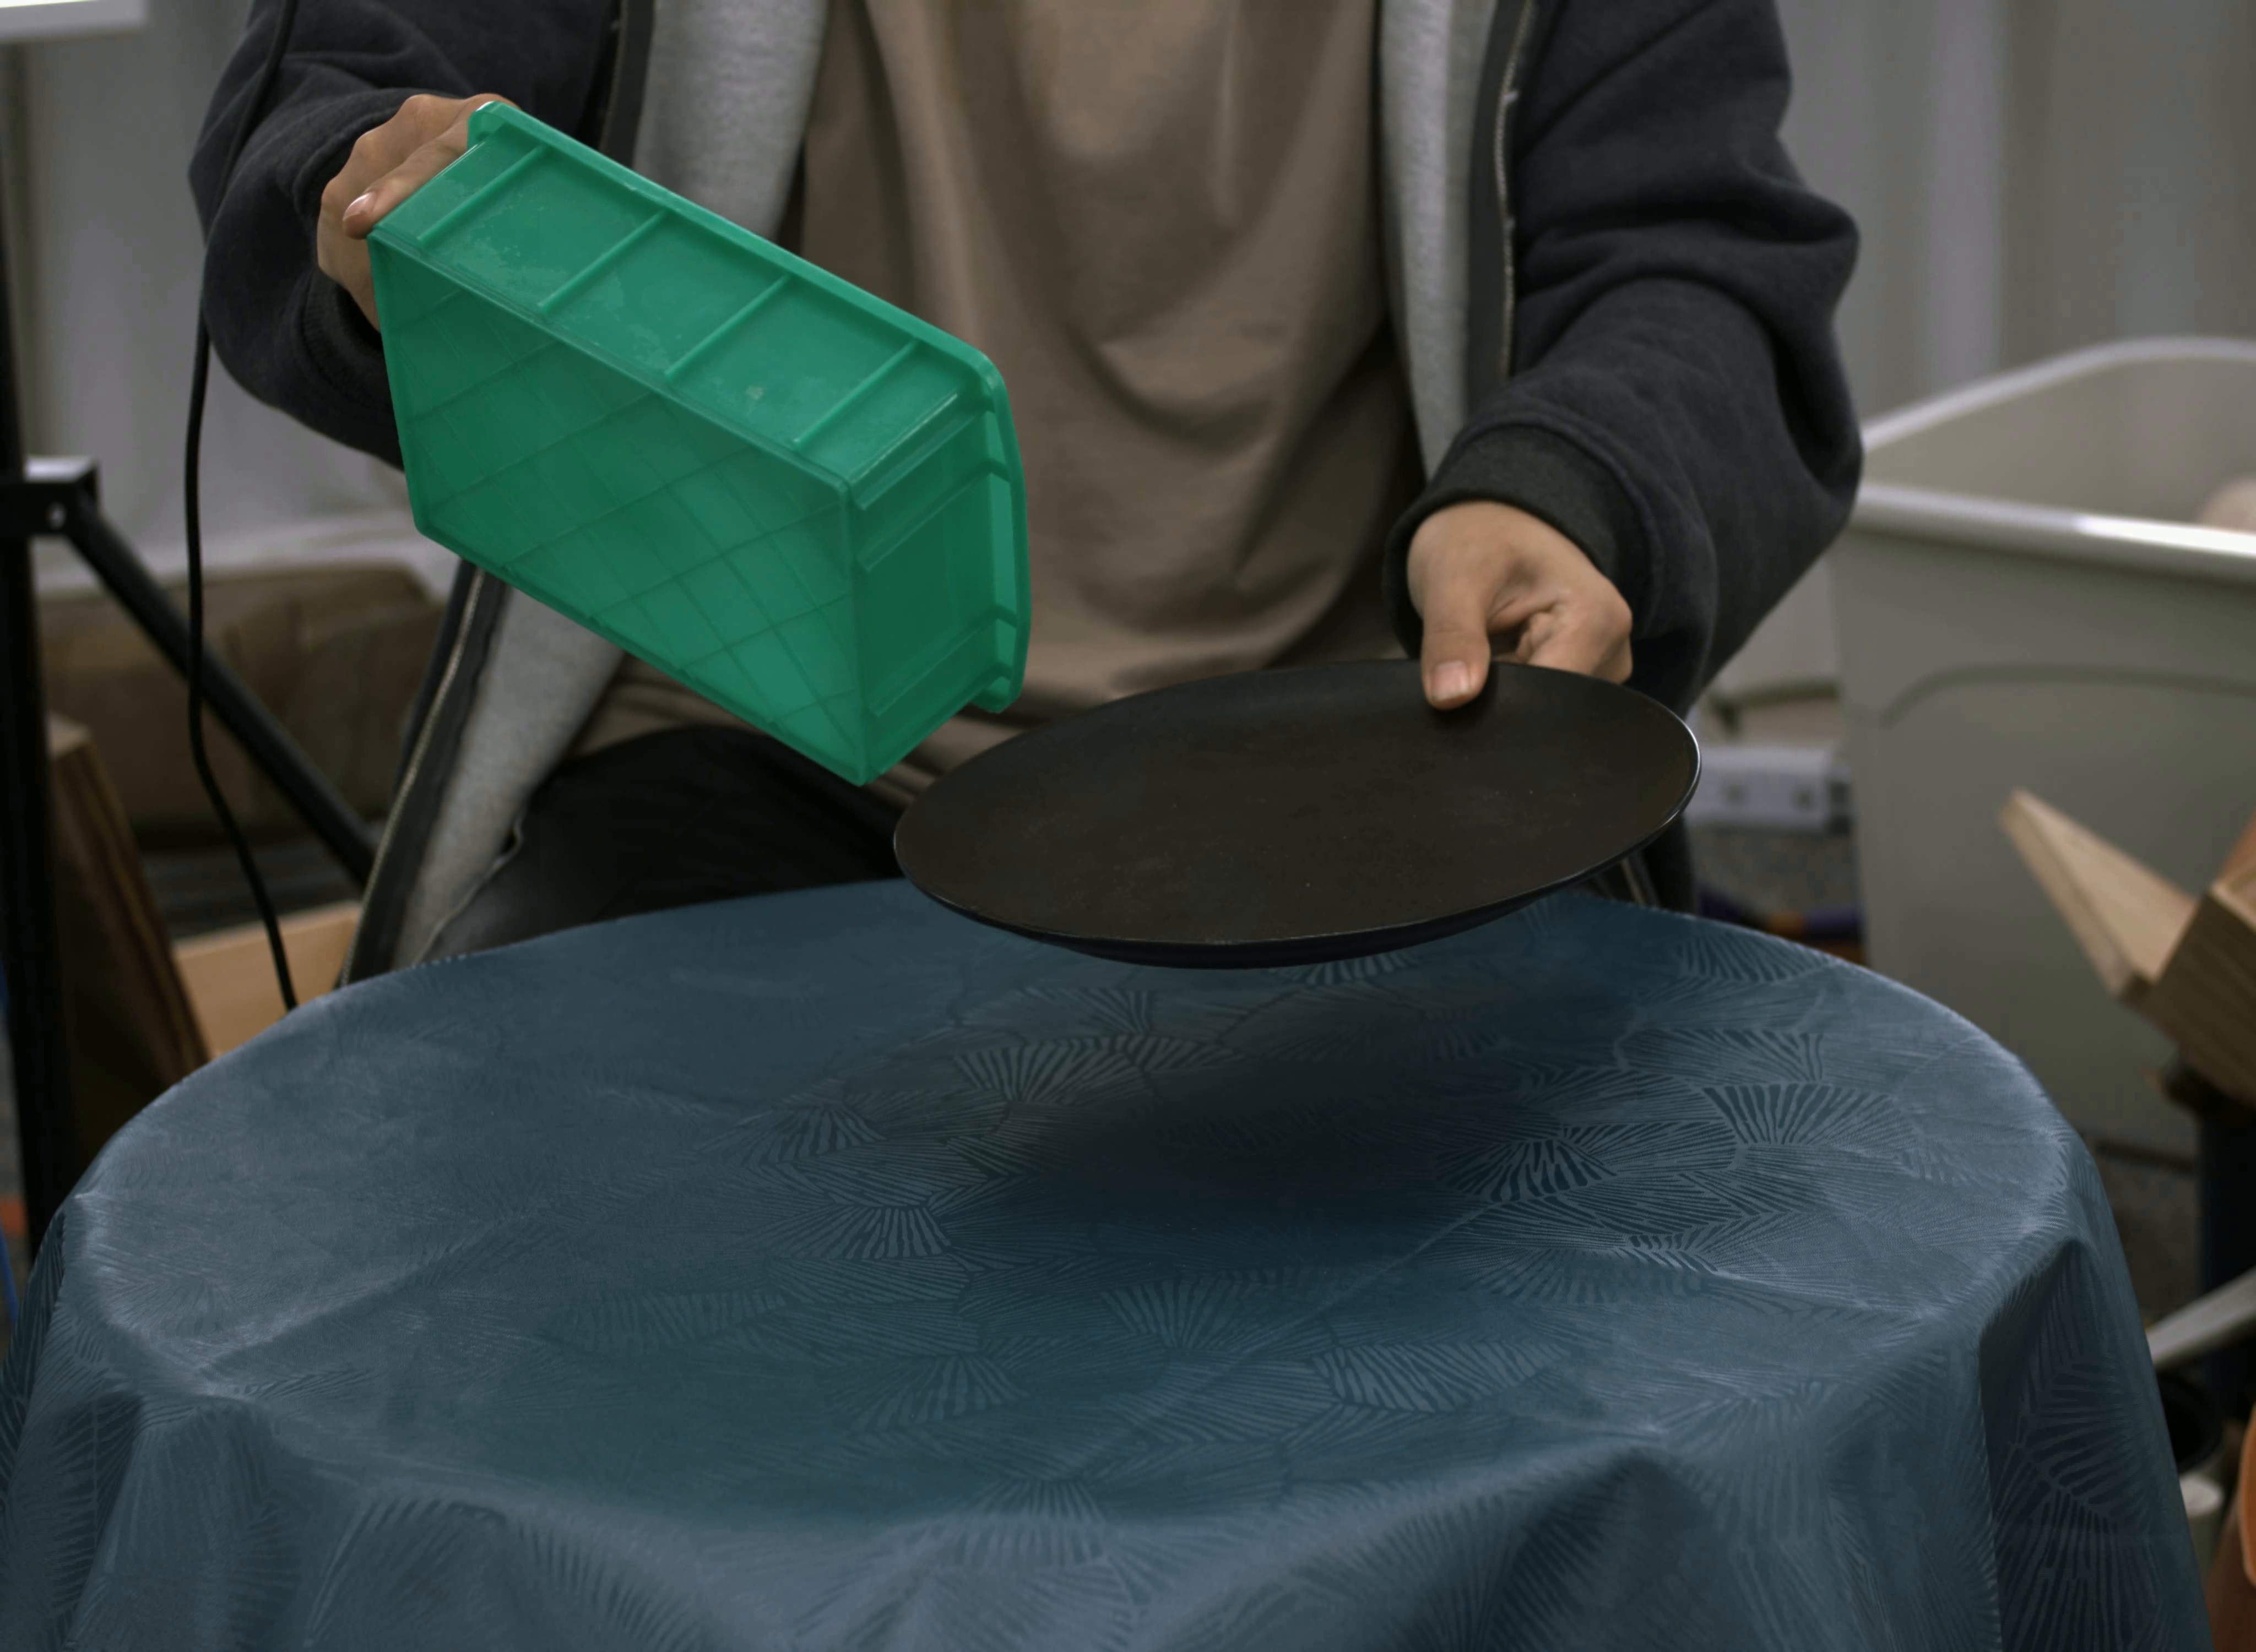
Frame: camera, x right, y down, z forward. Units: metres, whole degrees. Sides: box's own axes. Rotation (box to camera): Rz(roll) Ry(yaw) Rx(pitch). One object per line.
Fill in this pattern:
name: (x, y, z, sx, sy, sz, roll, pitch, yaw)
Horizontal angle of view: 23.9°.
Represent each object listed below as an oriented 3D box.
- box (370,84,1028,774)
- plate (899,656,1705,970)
box: (-0.129, -0.111, 1.545, 0.214, 0.138, 0.064, 29, 51, 26)
plate: (0.052, -0.001, 1.596, 0.243, 0.023, 0.246, -8, 19, 1)
